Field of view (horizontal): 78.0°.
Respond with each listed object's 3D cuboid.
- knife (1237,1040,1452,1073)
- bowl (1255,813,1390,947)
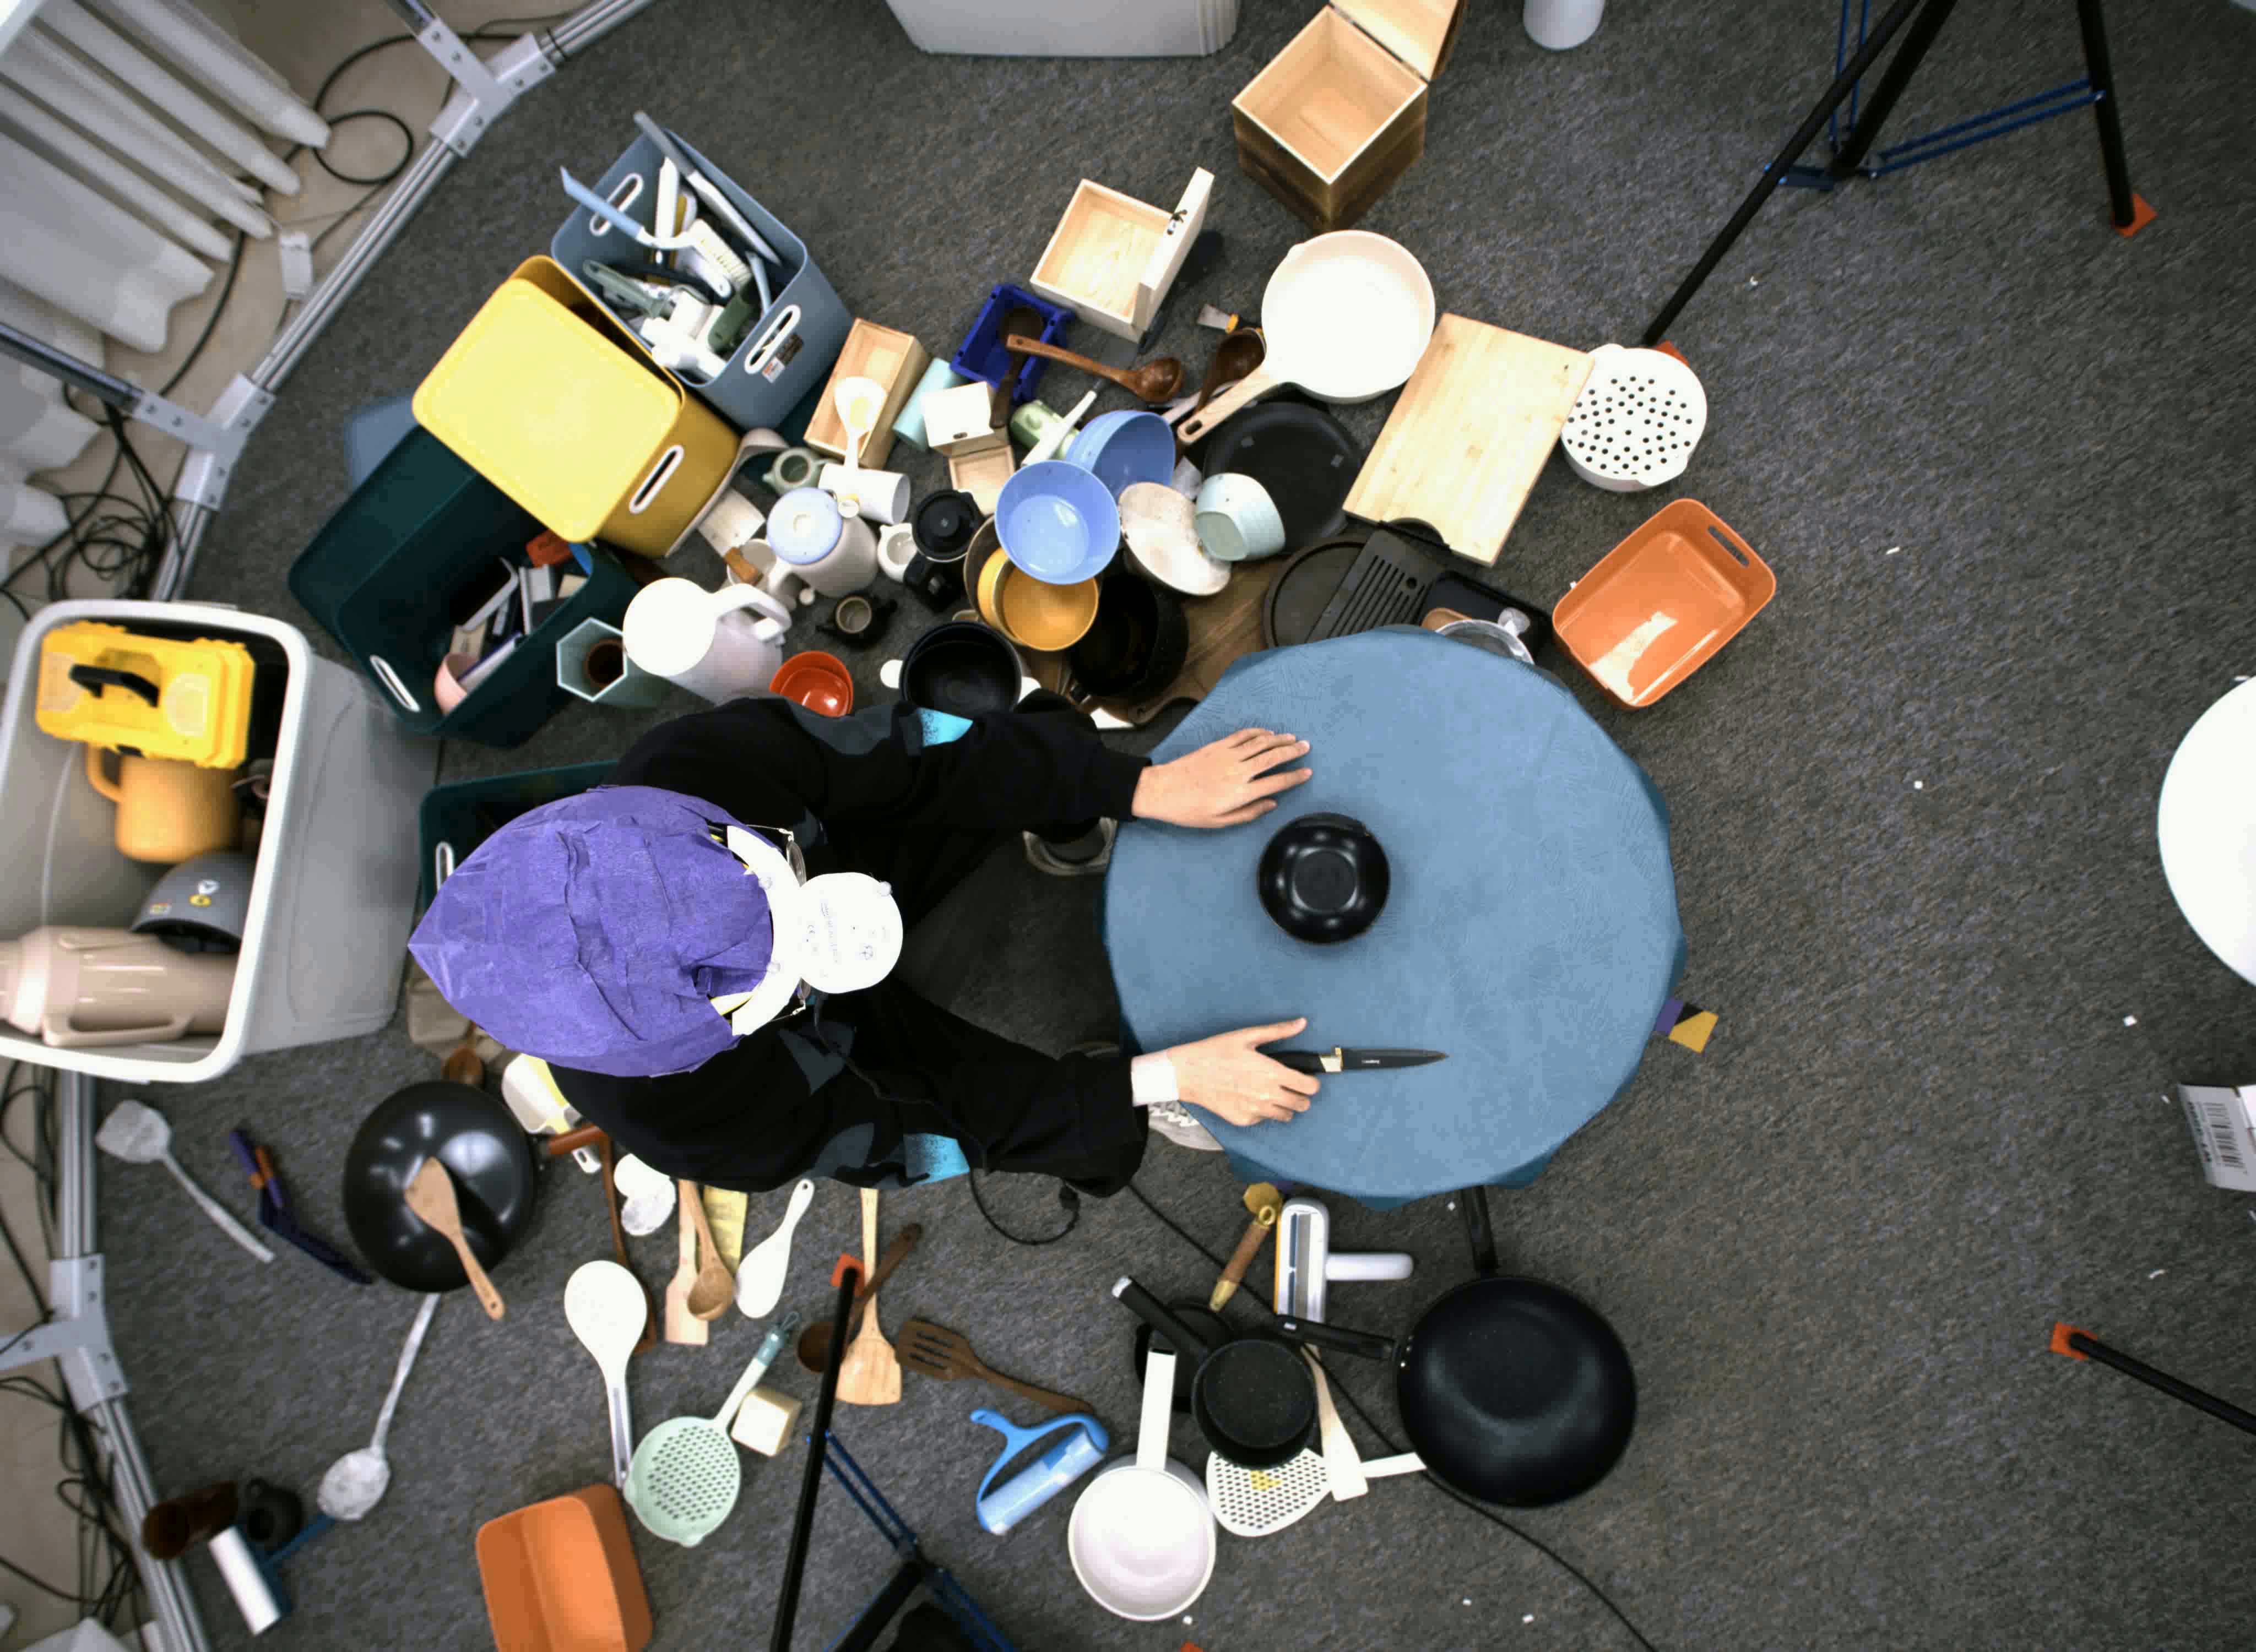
[{"bbox_3d":[0.226,0.241,1.453,0.226,0.017,0.026,-5,82,9],"label":"knife"},{"bbox_3d":[0.205,0.056,1.451,0.140,0.049,0.139,-1,89,14],"label":"bowl"}]
